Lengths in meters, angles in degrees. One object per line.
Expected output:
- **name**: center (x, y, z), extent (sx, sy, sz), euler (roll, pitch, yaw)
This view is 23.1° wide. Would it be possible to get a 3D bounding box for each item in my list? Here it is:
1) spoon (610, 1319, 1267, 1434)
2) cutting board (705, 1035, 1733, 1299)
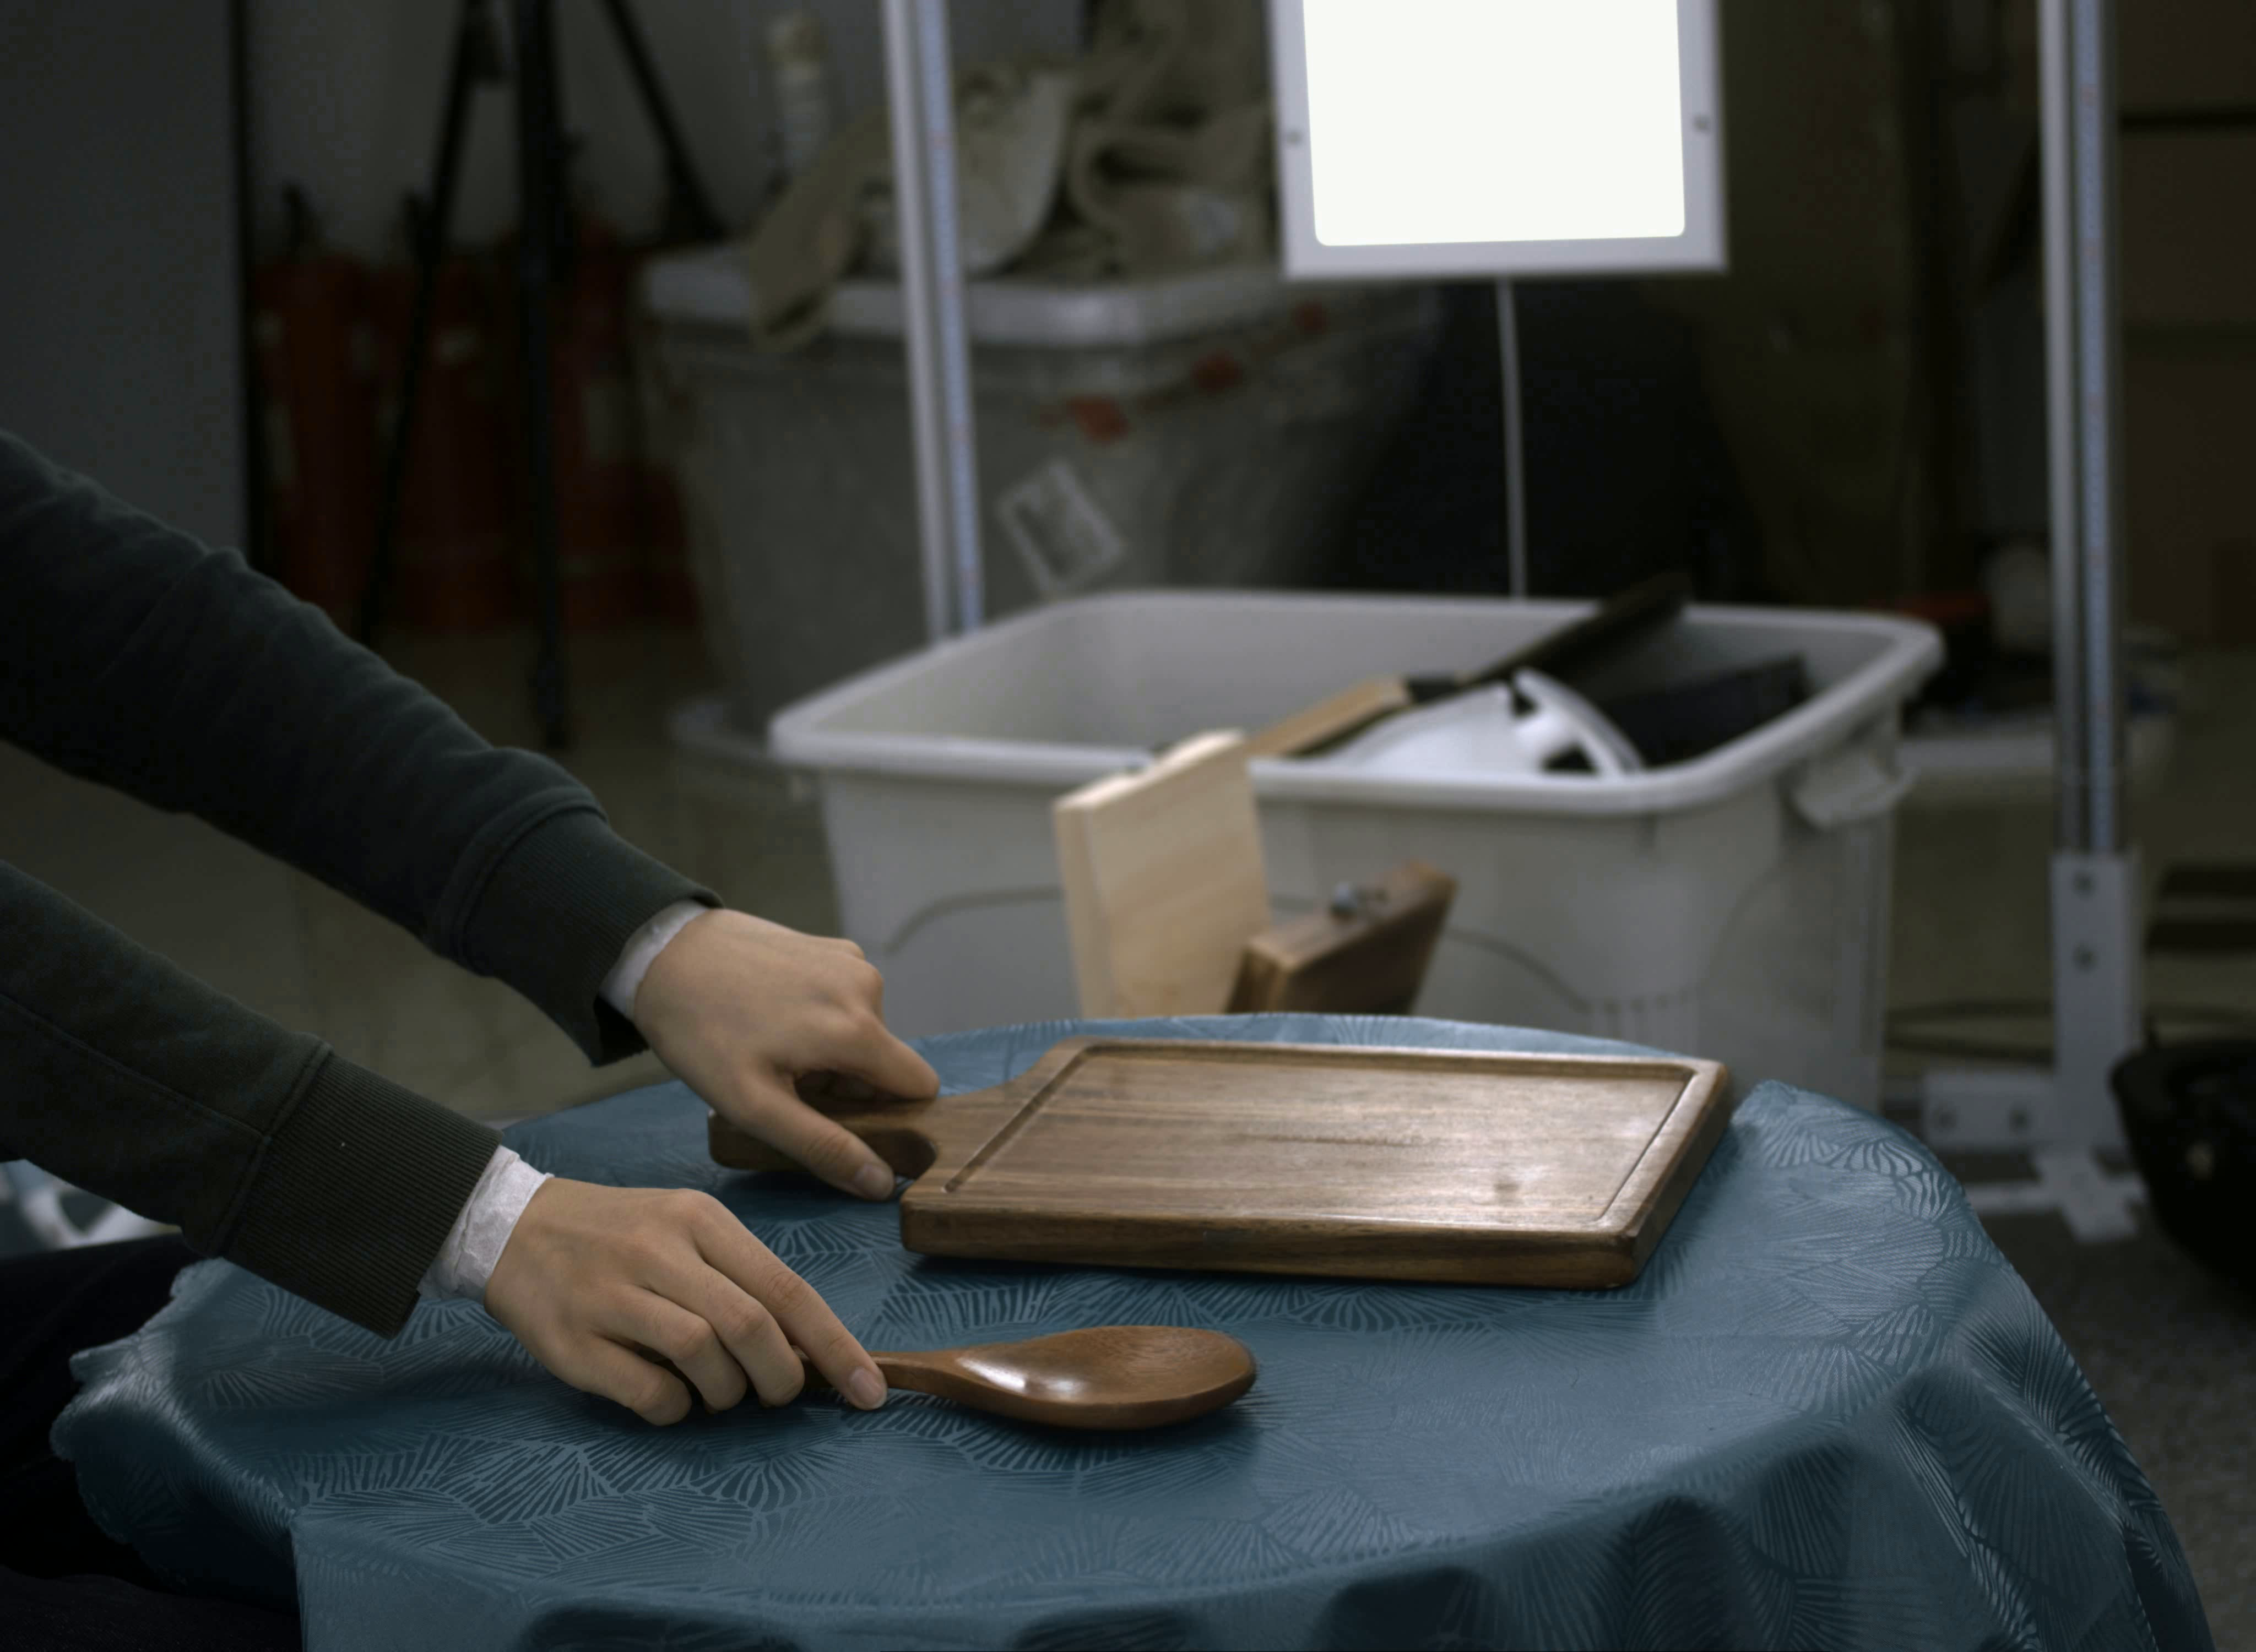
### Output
- **spoon**: center (-0.060, 0.169, 1.708), extent (0.219, 0.017, 0.074), euler (1, 17, 22)
- **cutting board**: center (0.021, 0.112, 1.893), extent (0.356, 0.023, 0.198), euler (1, 16, 18)
